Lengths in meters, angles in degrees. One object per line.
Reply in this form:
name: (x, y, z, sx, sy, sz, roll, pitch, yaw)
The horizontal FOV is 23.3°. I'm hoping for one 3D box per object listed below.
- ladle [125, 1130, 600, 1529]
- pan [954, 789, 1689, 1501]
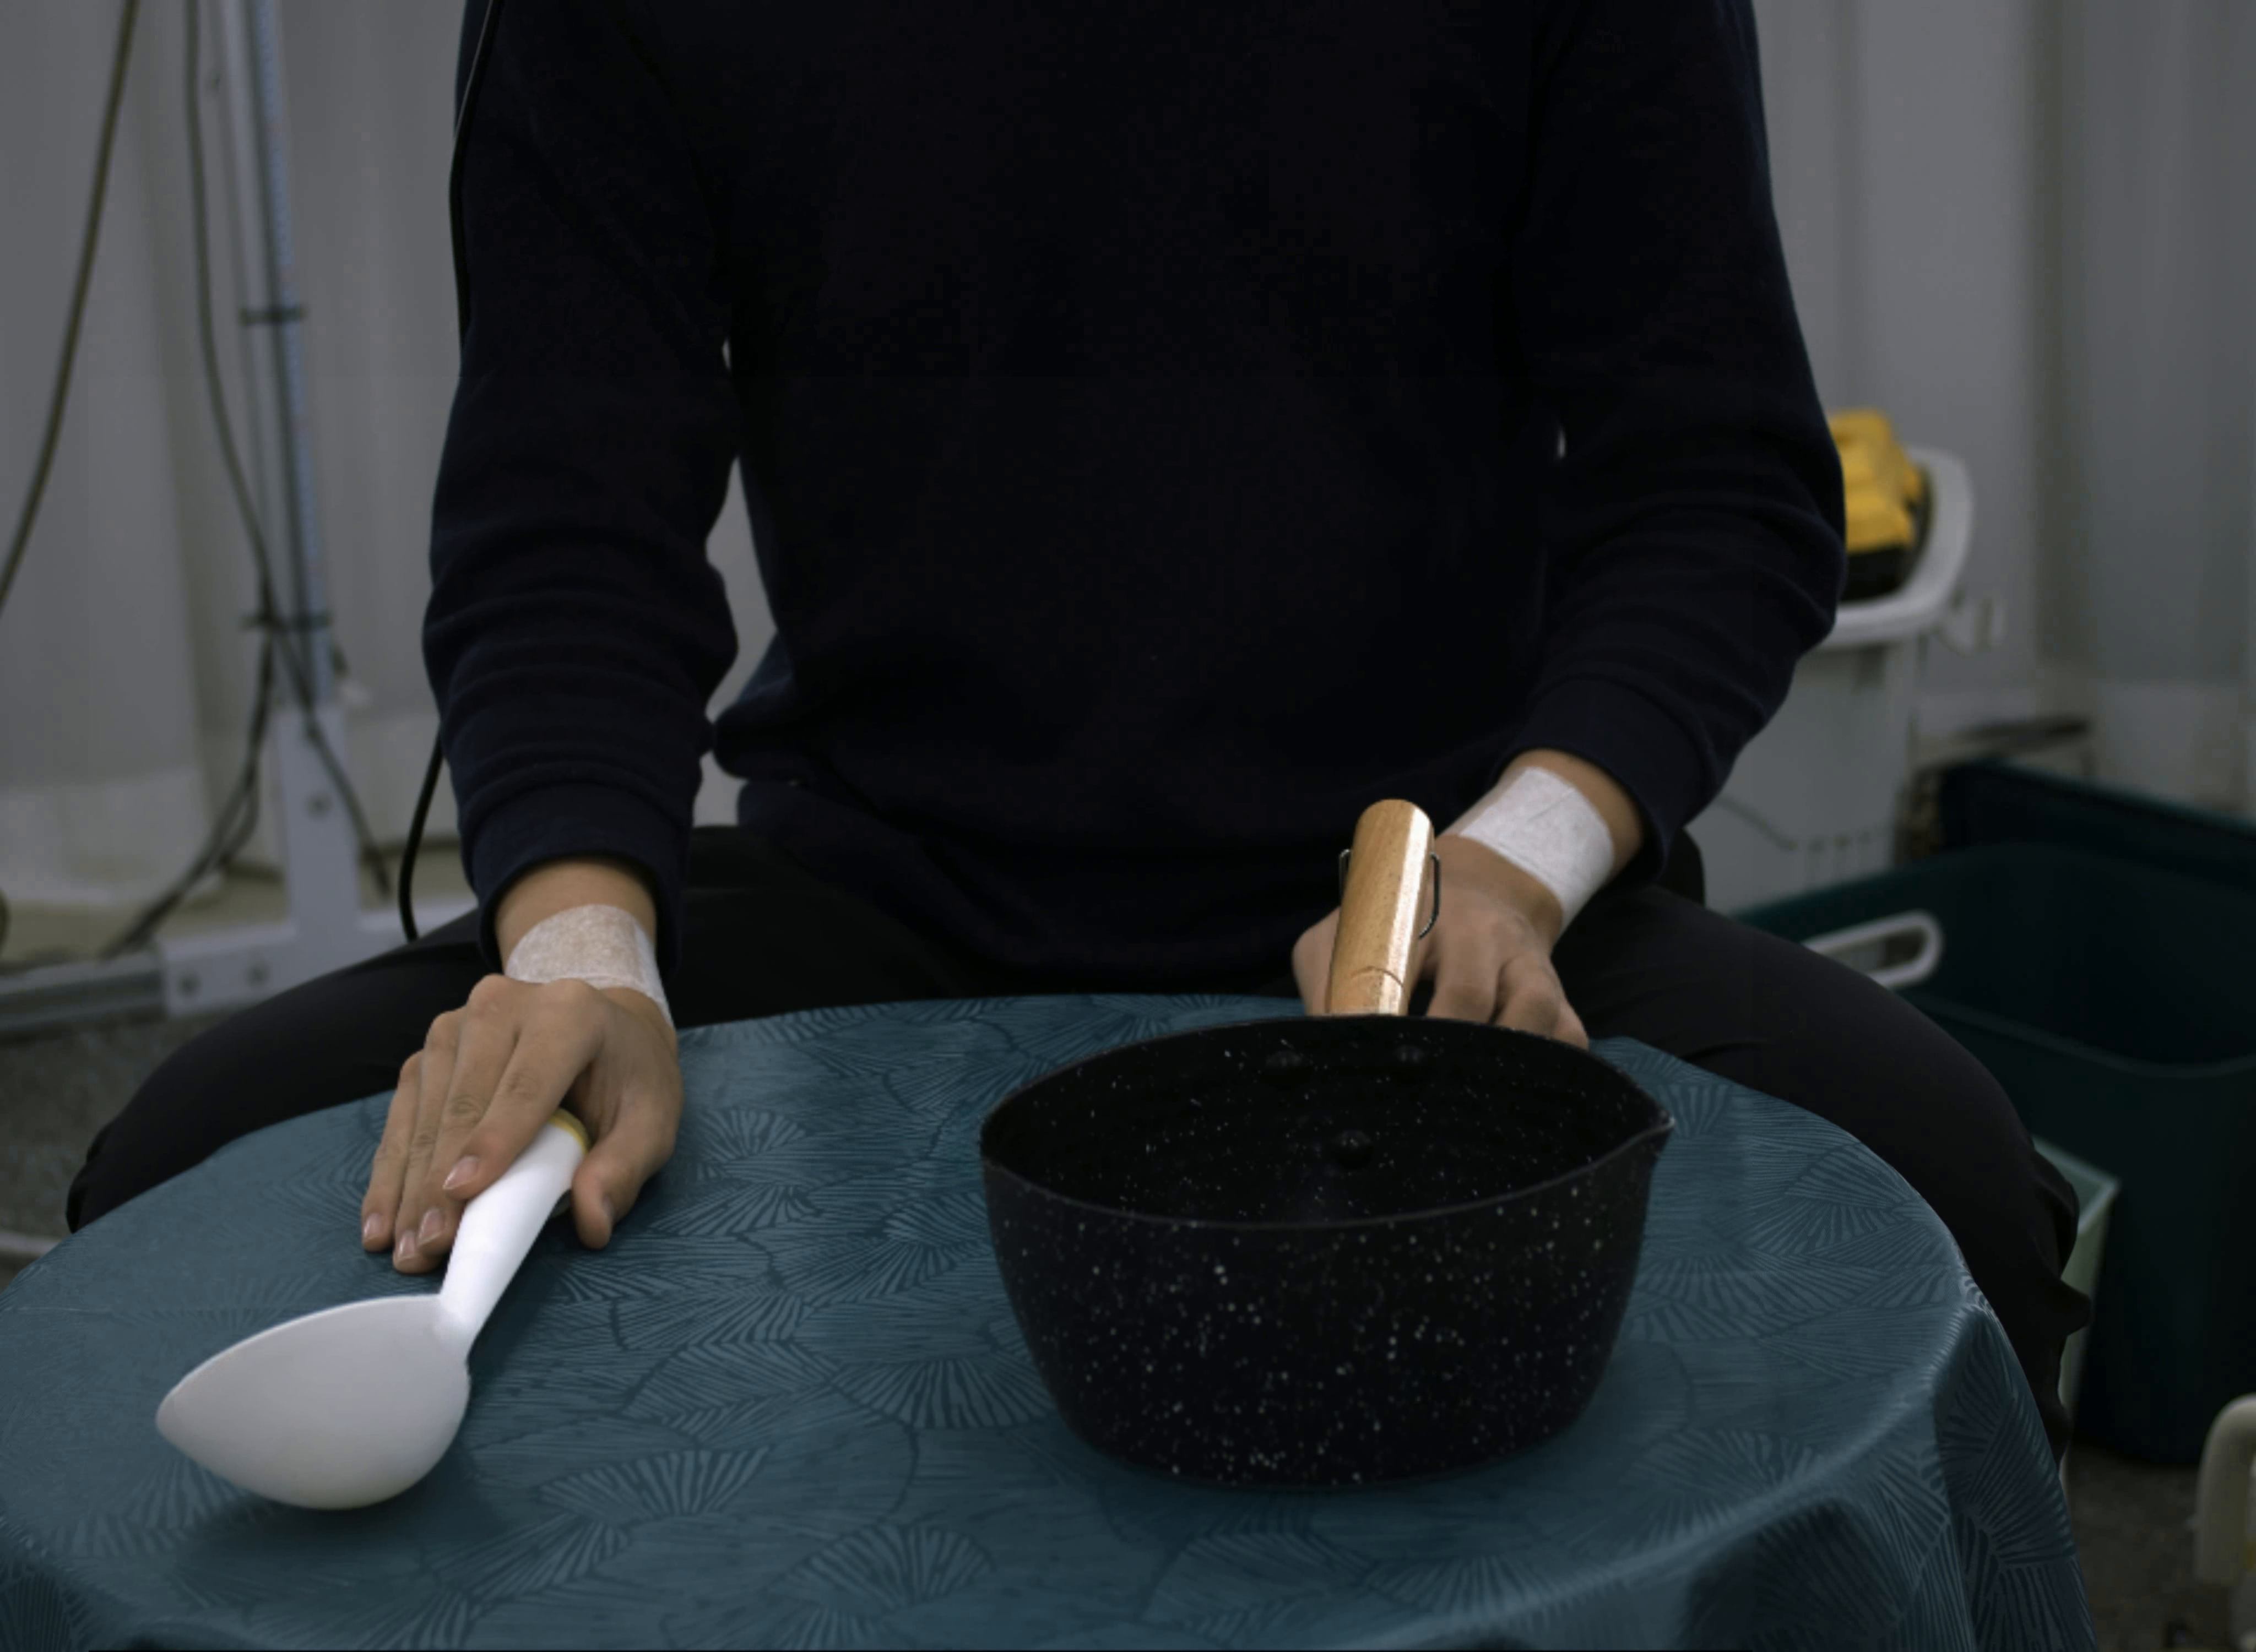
ladle: (-0.210, 0.132, 1.590, 0.090, 0.070, 0.294, -33, 8, 14)
pan: (0.063, 0.088, 1.597, 0.207, 0.108, 0.345, -2, 16, 8)
